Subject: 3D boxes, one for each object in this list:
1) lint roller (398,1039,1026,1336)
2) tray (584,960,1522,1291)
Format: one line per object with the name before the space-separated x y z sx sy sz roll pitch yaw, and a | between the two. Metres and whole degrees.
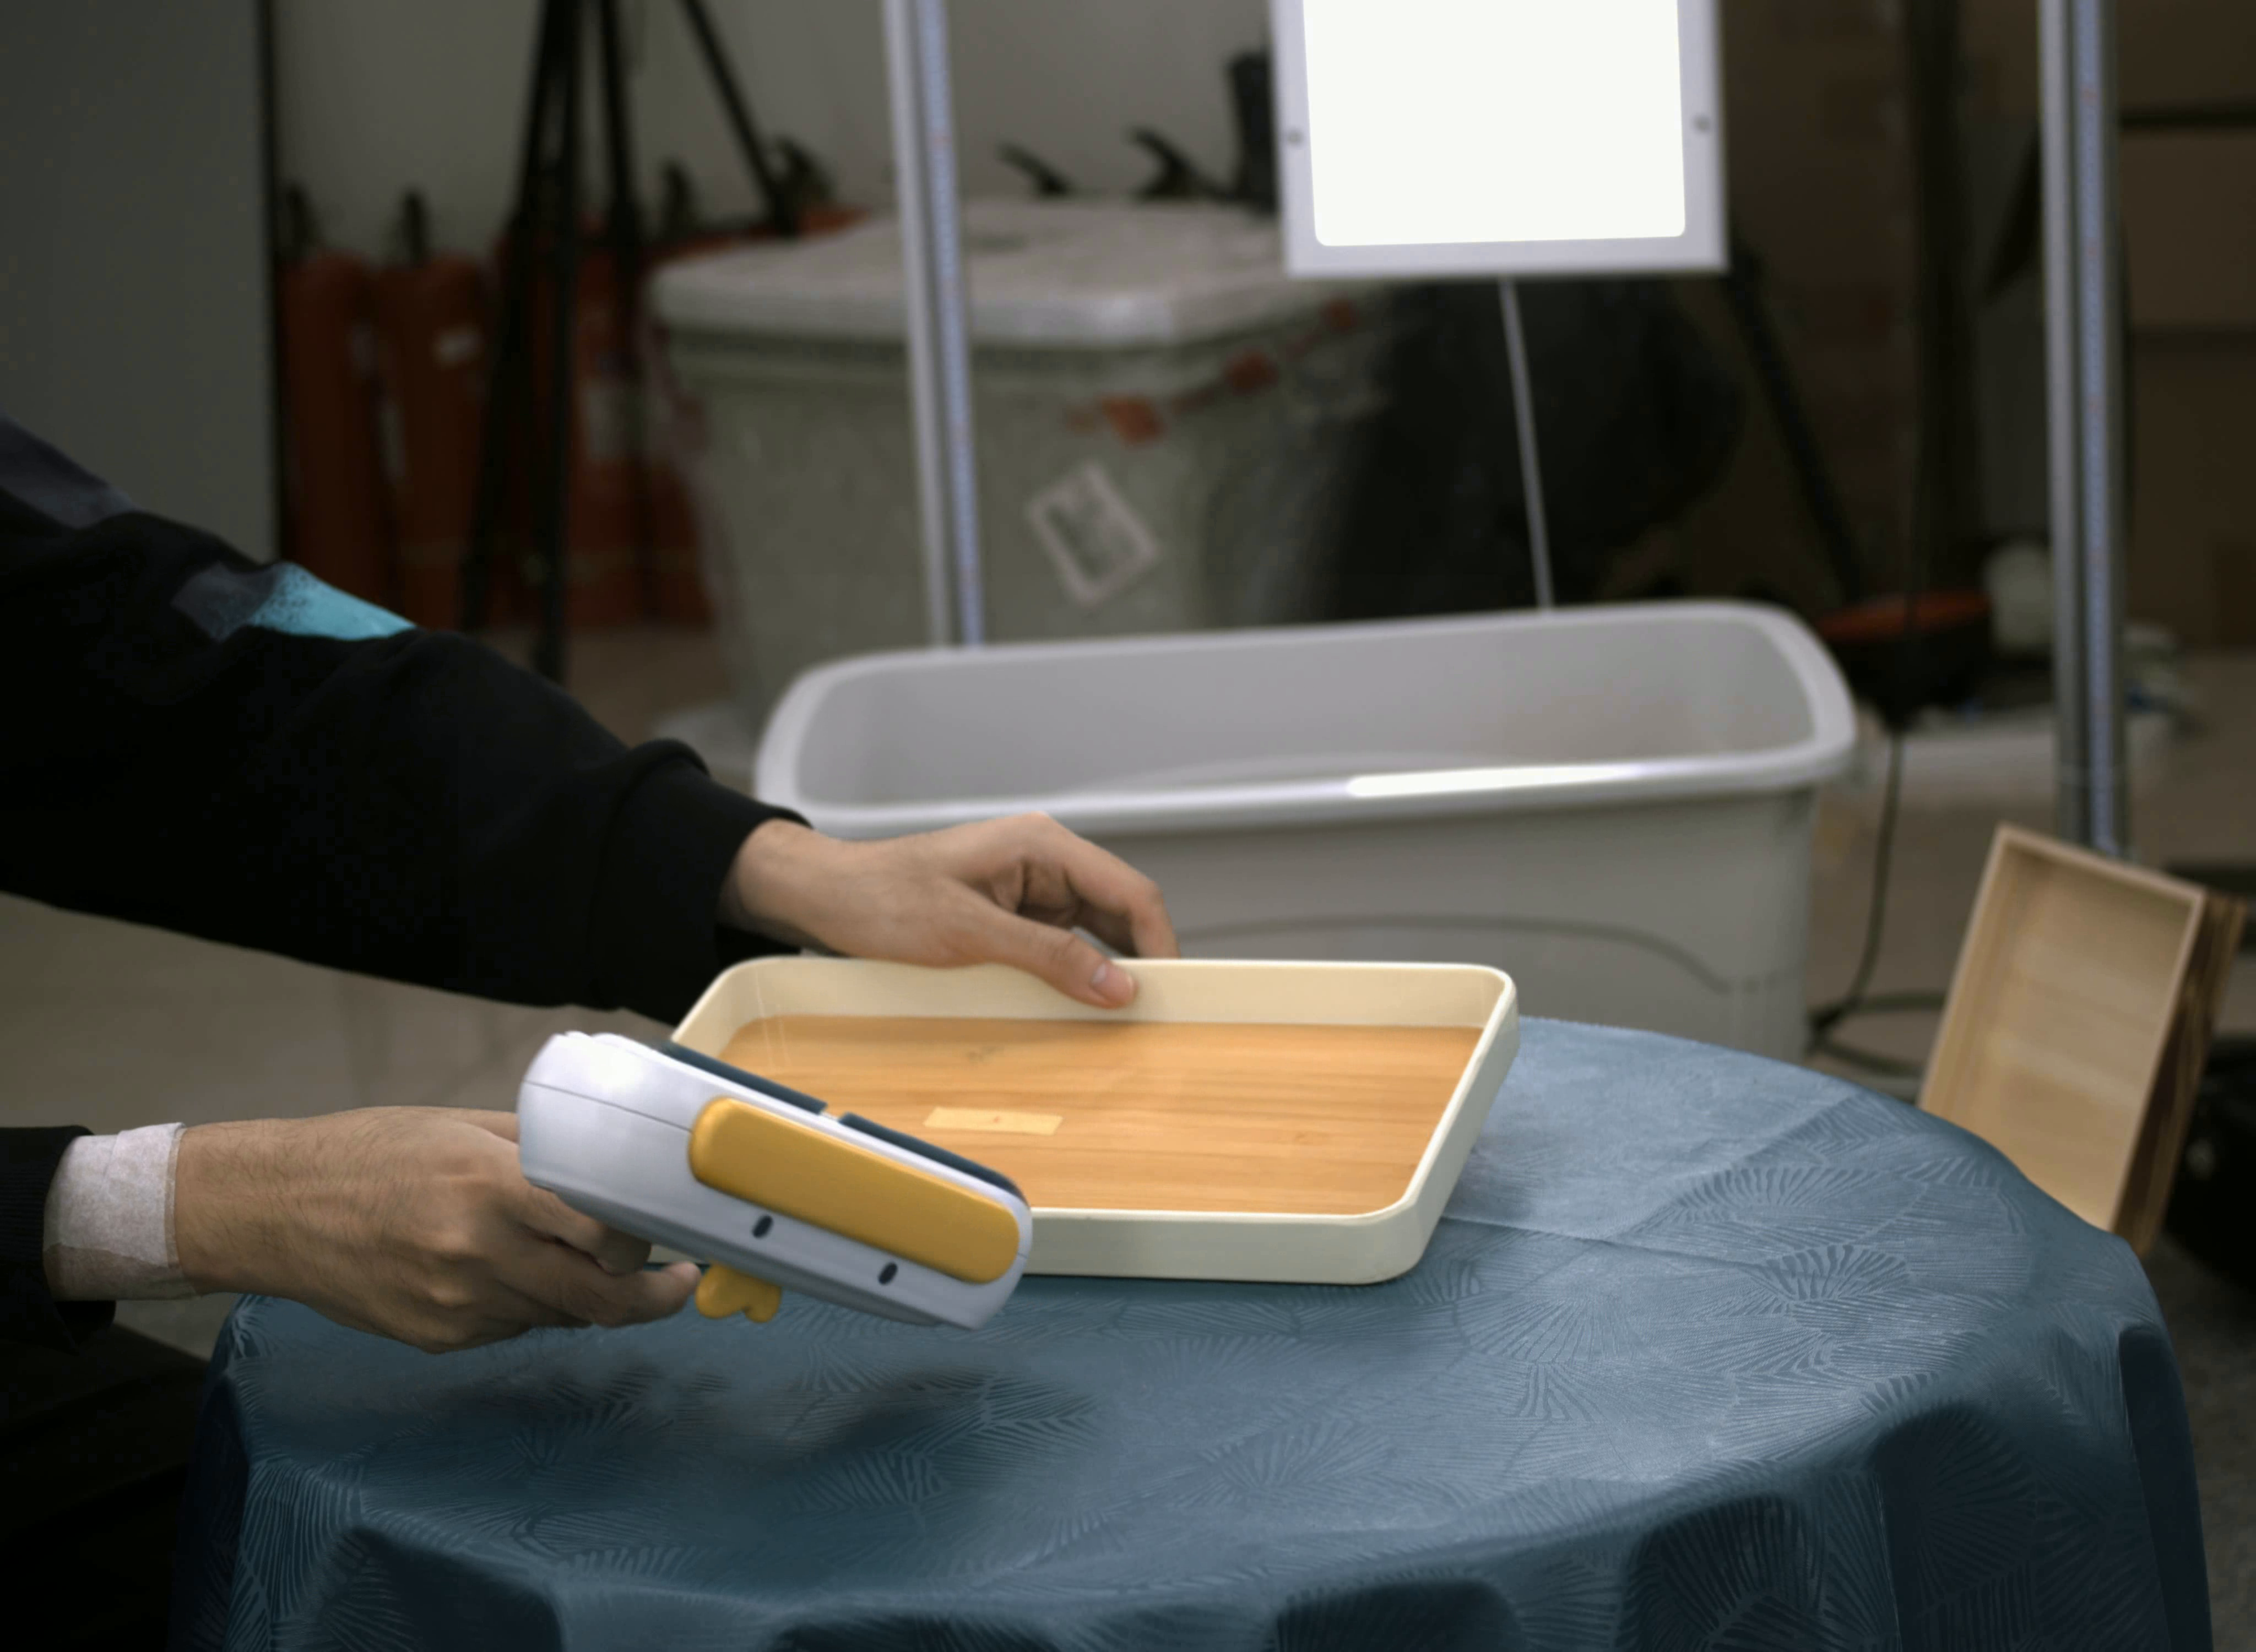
lint roller | -0.152 0.118 1.702 0.197 0.074 0.188 -2 -15 44
tray | -0.026 0.100 1.895 0.304 0.027 0.188 0 25 19
